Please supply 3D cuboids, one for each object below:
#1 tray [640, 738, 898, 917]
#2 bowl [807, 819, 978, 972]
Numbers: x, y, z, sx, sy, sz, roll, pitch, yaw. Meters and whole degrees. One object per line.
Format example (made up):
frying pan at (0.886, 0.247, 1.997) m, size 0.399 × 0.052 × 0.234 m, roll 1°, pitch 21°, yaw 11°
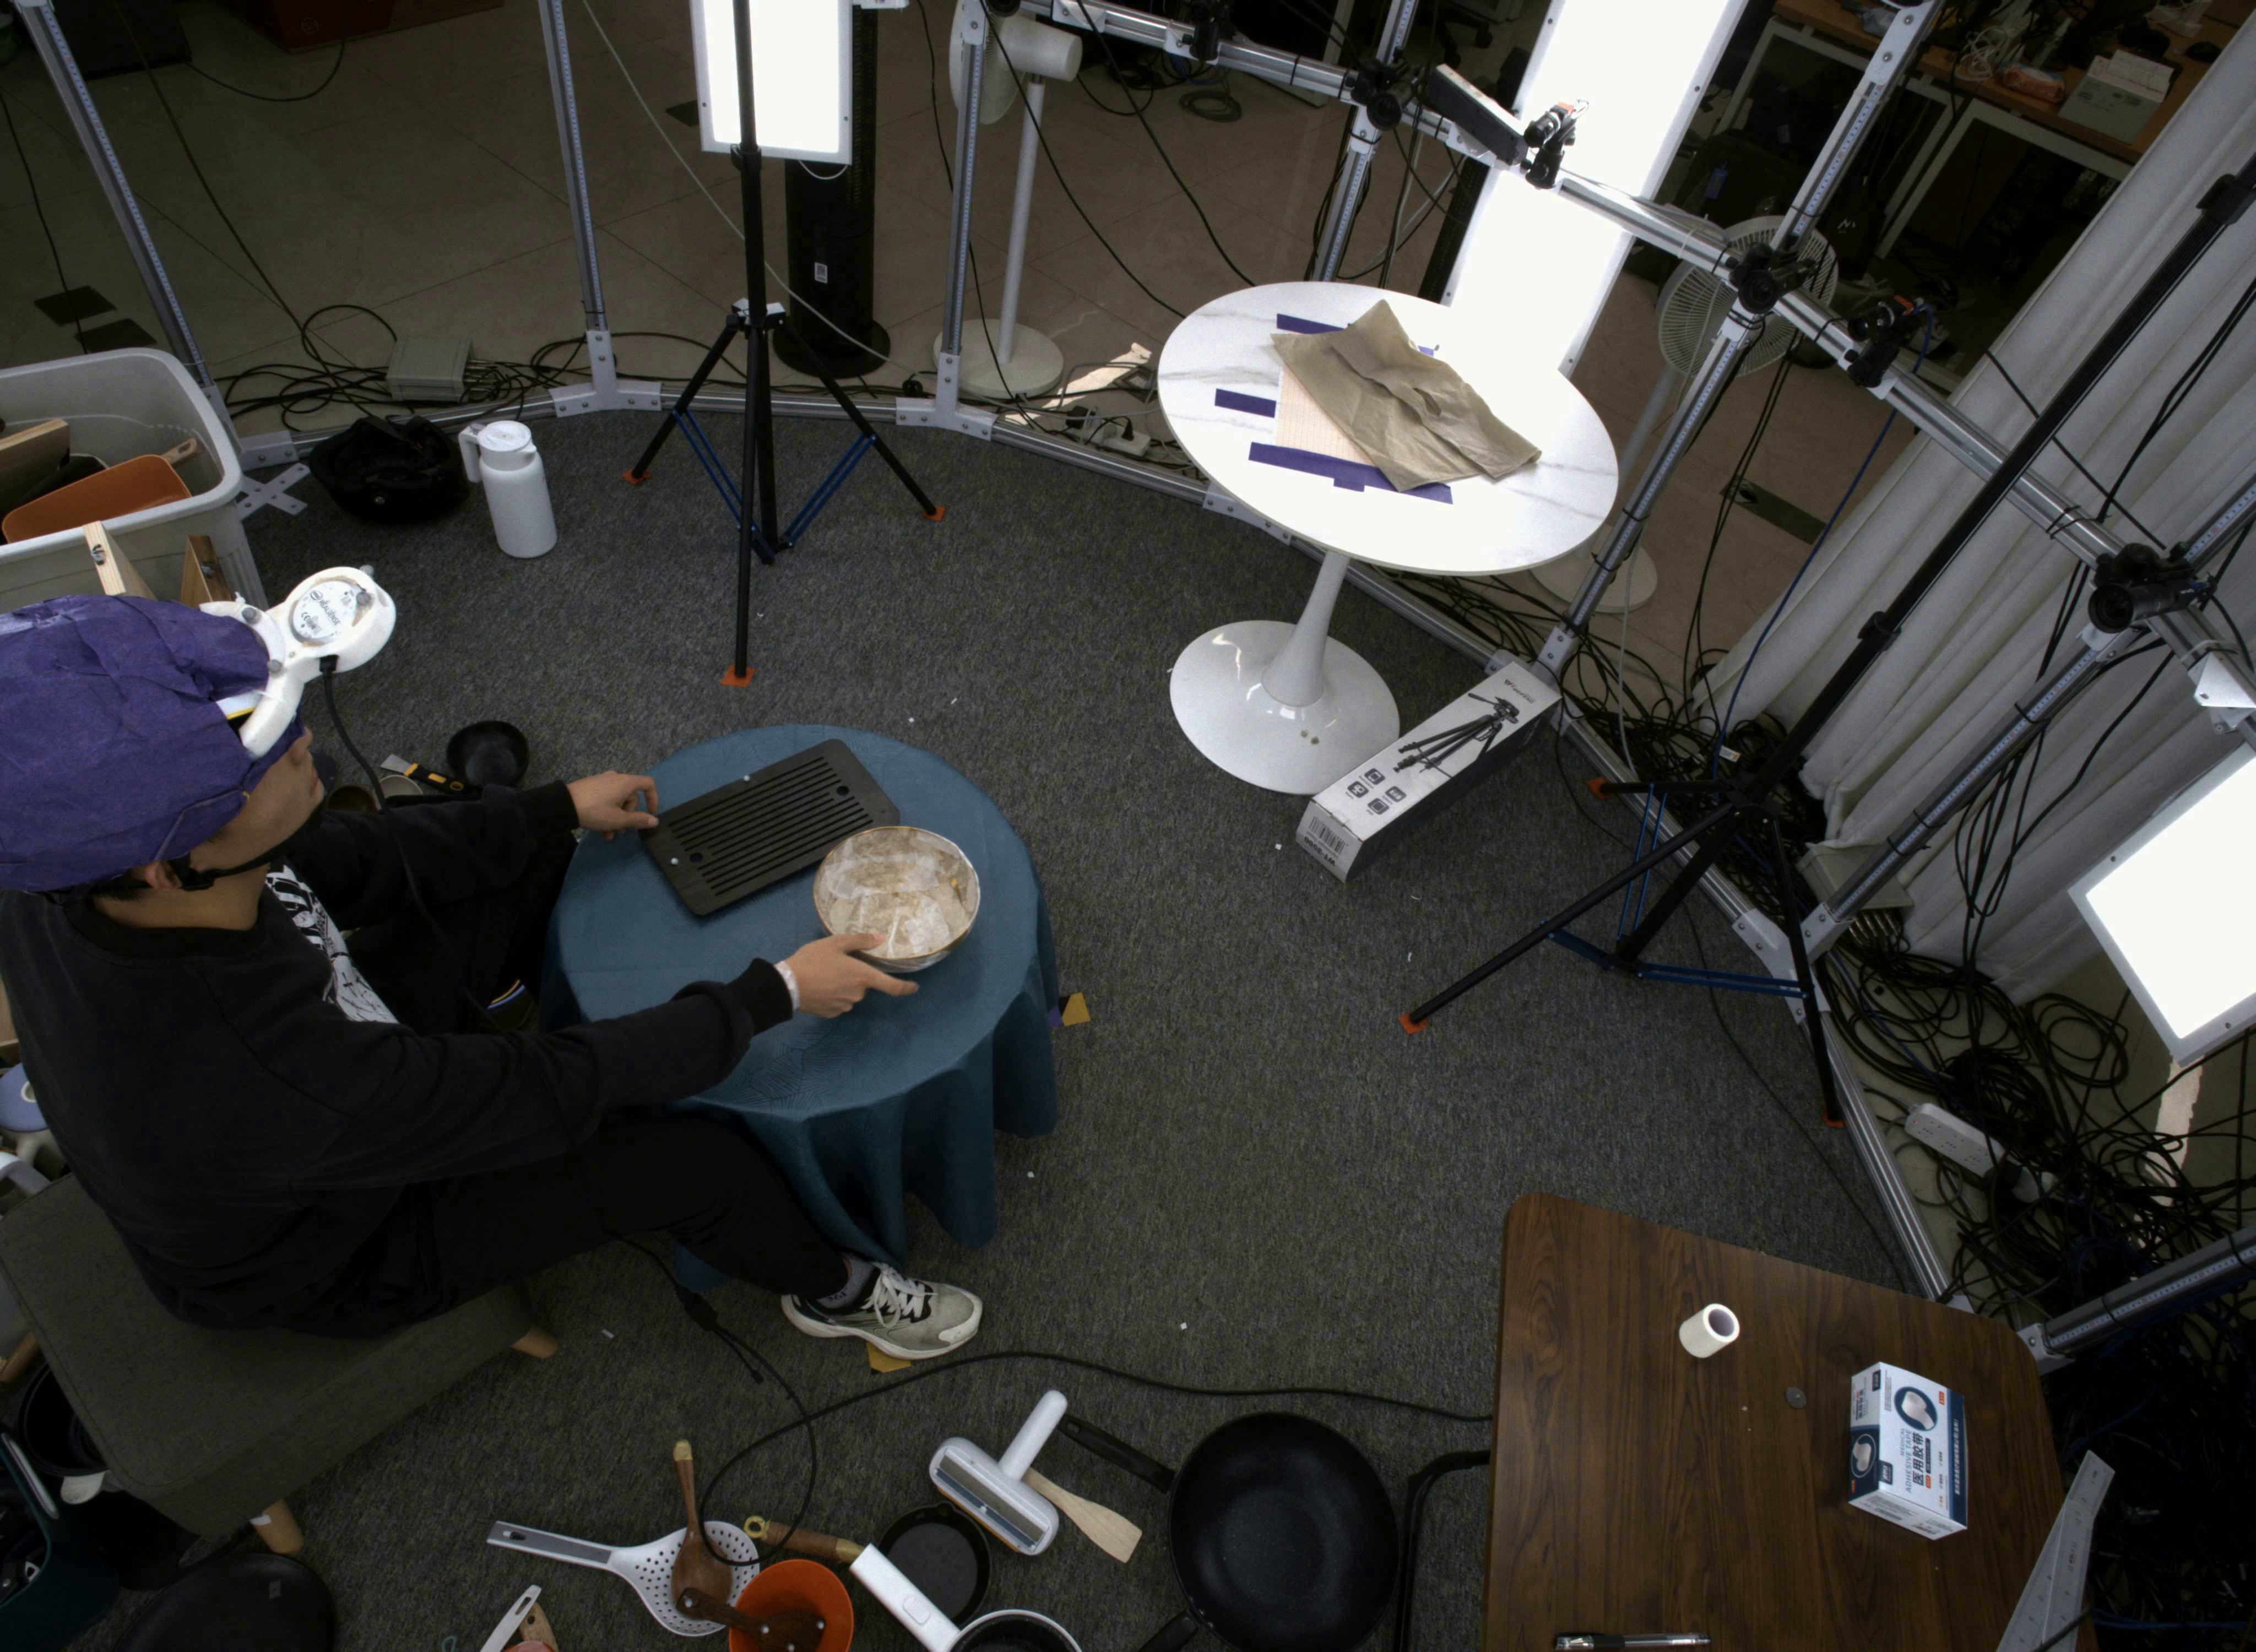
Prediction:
tray at (-0.471, -0.003, 1.708) m, size 0.307 × 0.019 × 0.166 m, roll -29°, pitch 65°, yaw -30°
bowl at (-0.295, 0.102, 1.627) m, size 0.214 × 0.096 × 0.211 m, roll 8°, pitch 53°, yaw -9°
